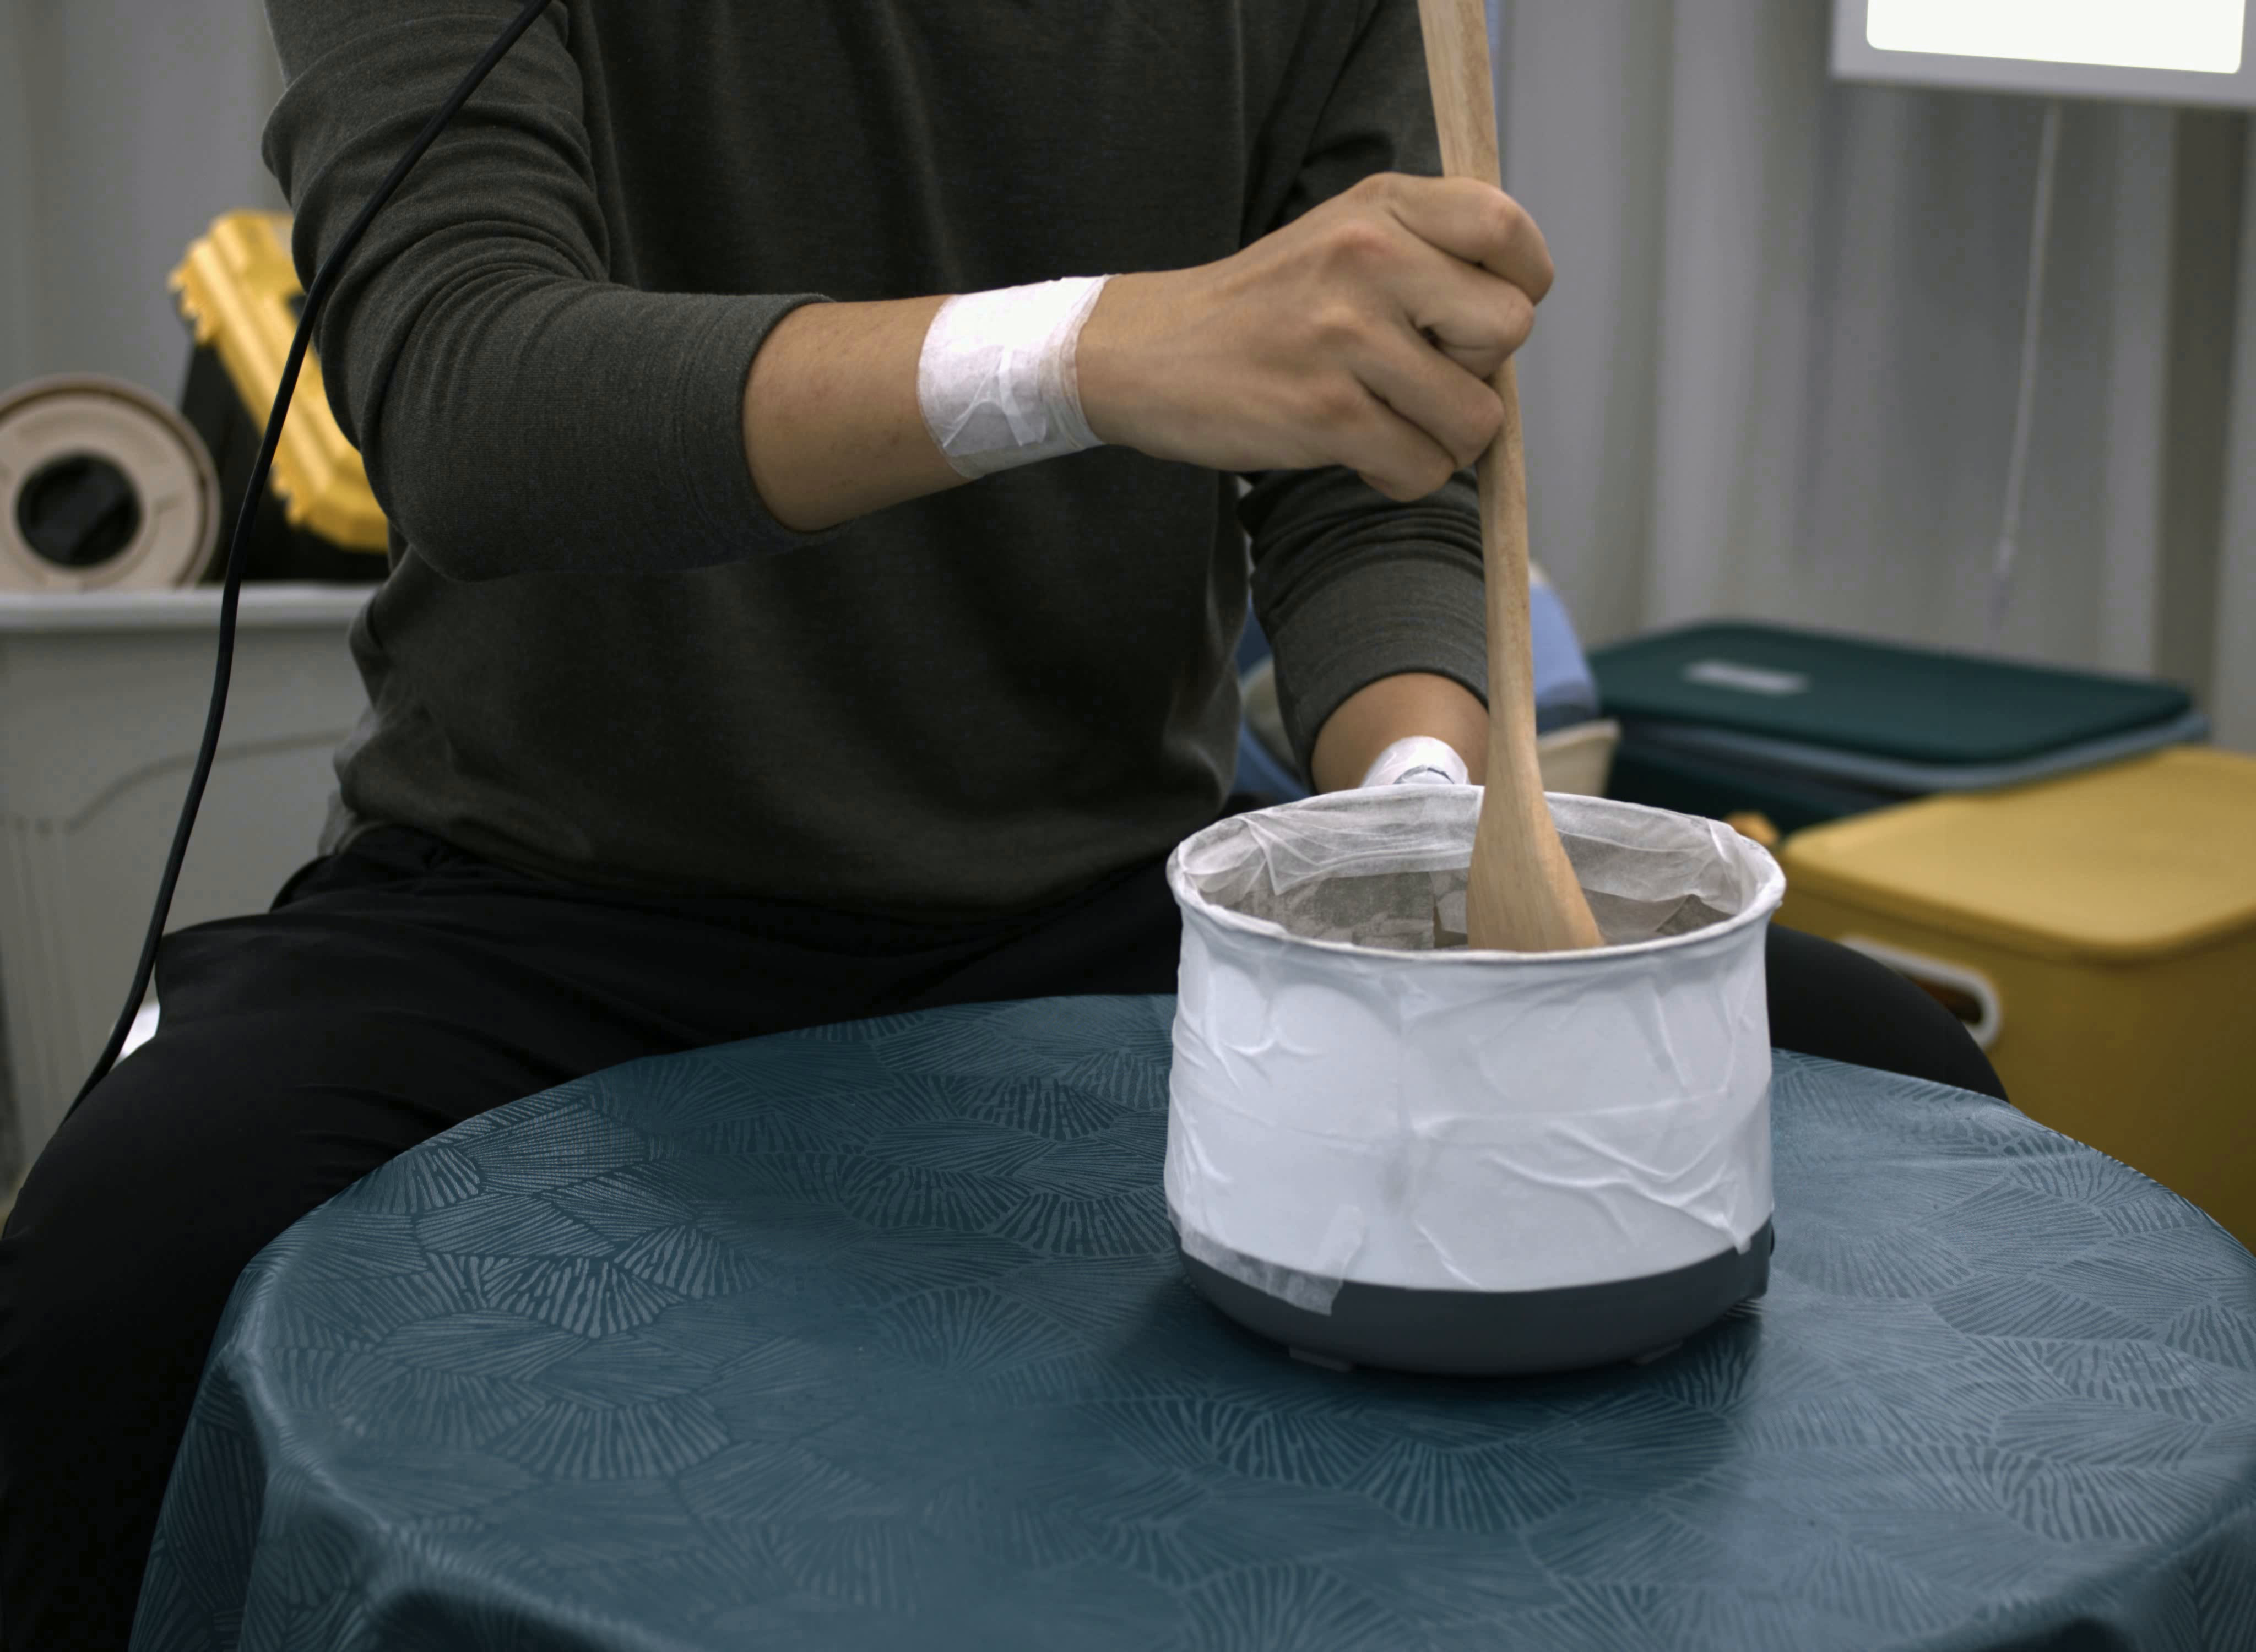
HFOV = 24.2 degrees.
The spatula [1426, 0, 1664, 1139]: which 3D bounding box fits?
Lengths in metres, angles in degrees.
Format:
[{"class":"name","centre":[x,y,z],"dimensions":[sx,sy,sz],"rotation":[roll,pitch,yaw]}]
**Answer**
[{"class":"spatula","centre":[0.106,-0.096,1.462],"dimensions":[0.018,0.393,0.095],"rotation":[-10,12,-21]}]

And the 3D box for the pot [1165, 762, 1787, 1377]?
[{"class":"pot","centre":[0.096,0.066,1.541],"dimensions":[0.178,0.138,0.232],"rotation":[-1,16,-6]}]
